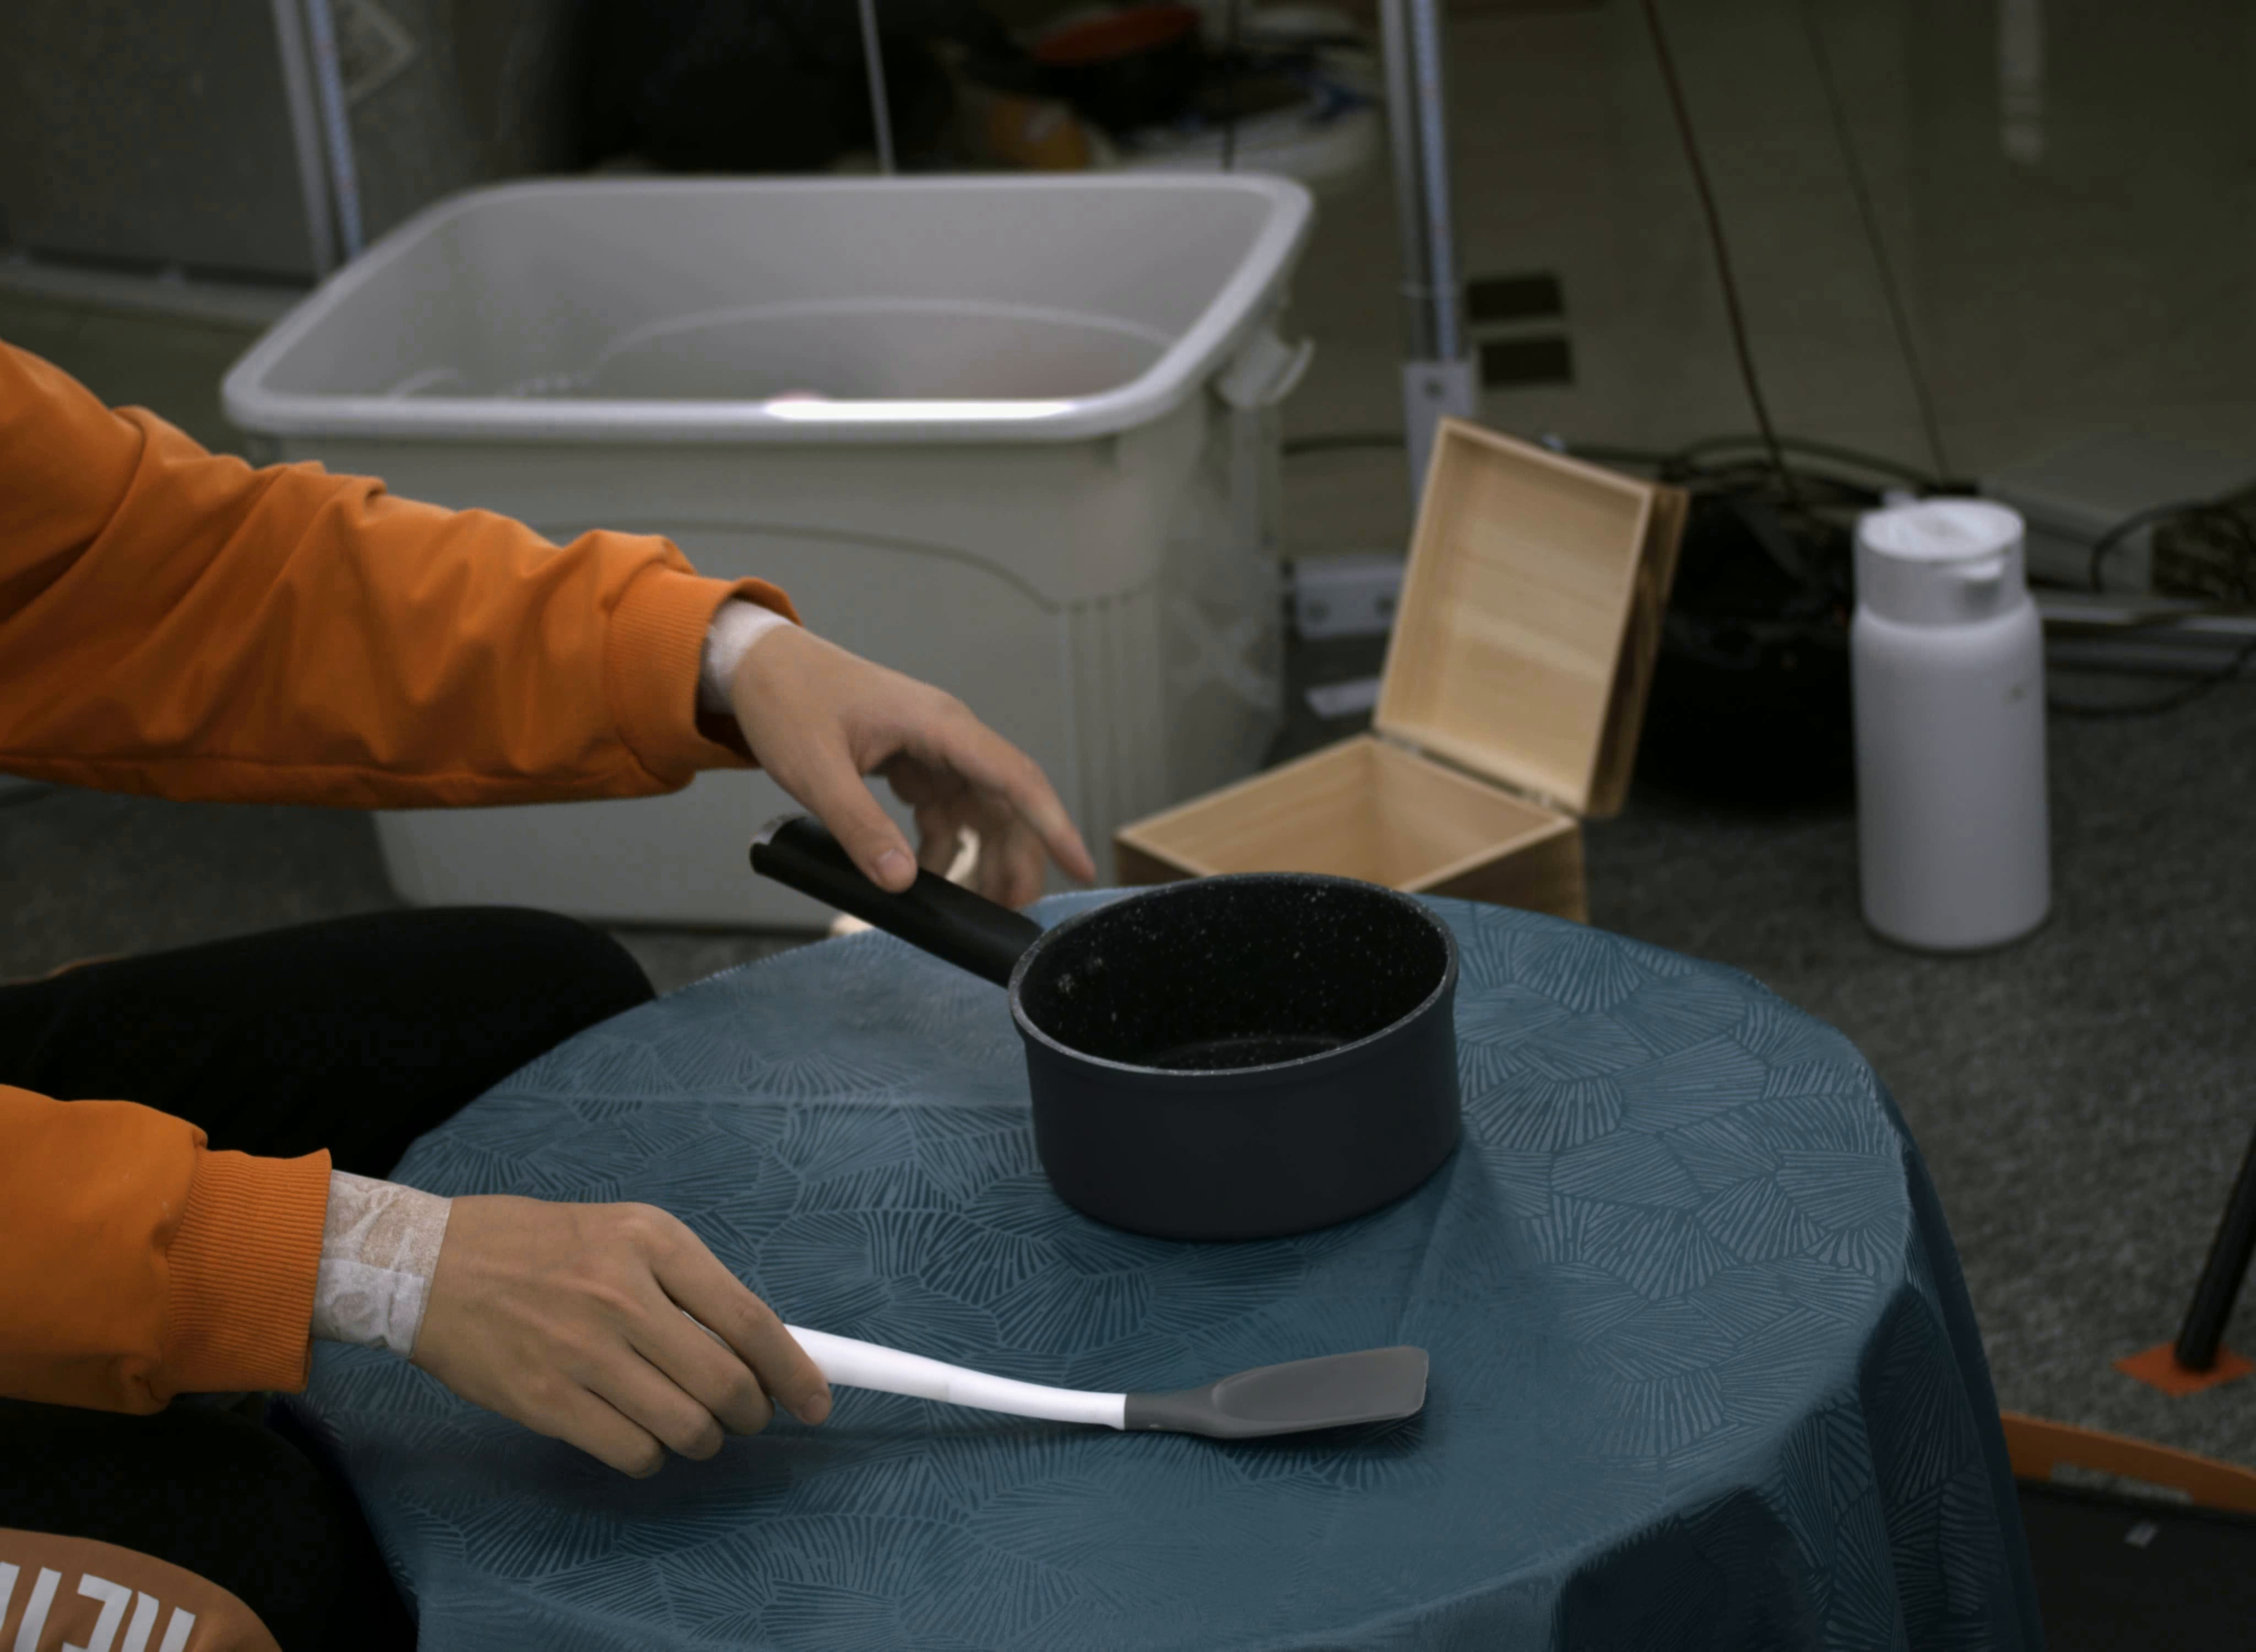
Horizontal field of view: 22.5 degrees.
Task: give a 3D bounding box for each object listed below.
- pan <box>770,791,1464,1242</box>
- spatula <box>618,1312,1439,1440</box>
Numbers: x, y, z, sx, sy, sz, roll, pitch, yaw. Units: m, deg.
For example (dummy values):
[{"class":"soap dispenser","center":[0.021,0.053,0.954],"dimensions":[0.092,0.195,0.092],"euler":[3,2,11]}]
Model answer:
[{"class":"pan","center":[-0.015,0.067,2.203],"dimensions":[0.326,0.088,0.170],"euler":[19,34,39]},{"class":"spatula","center":[-0.035,0.194,1.989],"dimensions":[0.287,0.032,0.058],"euler":[3,19,5]}]
